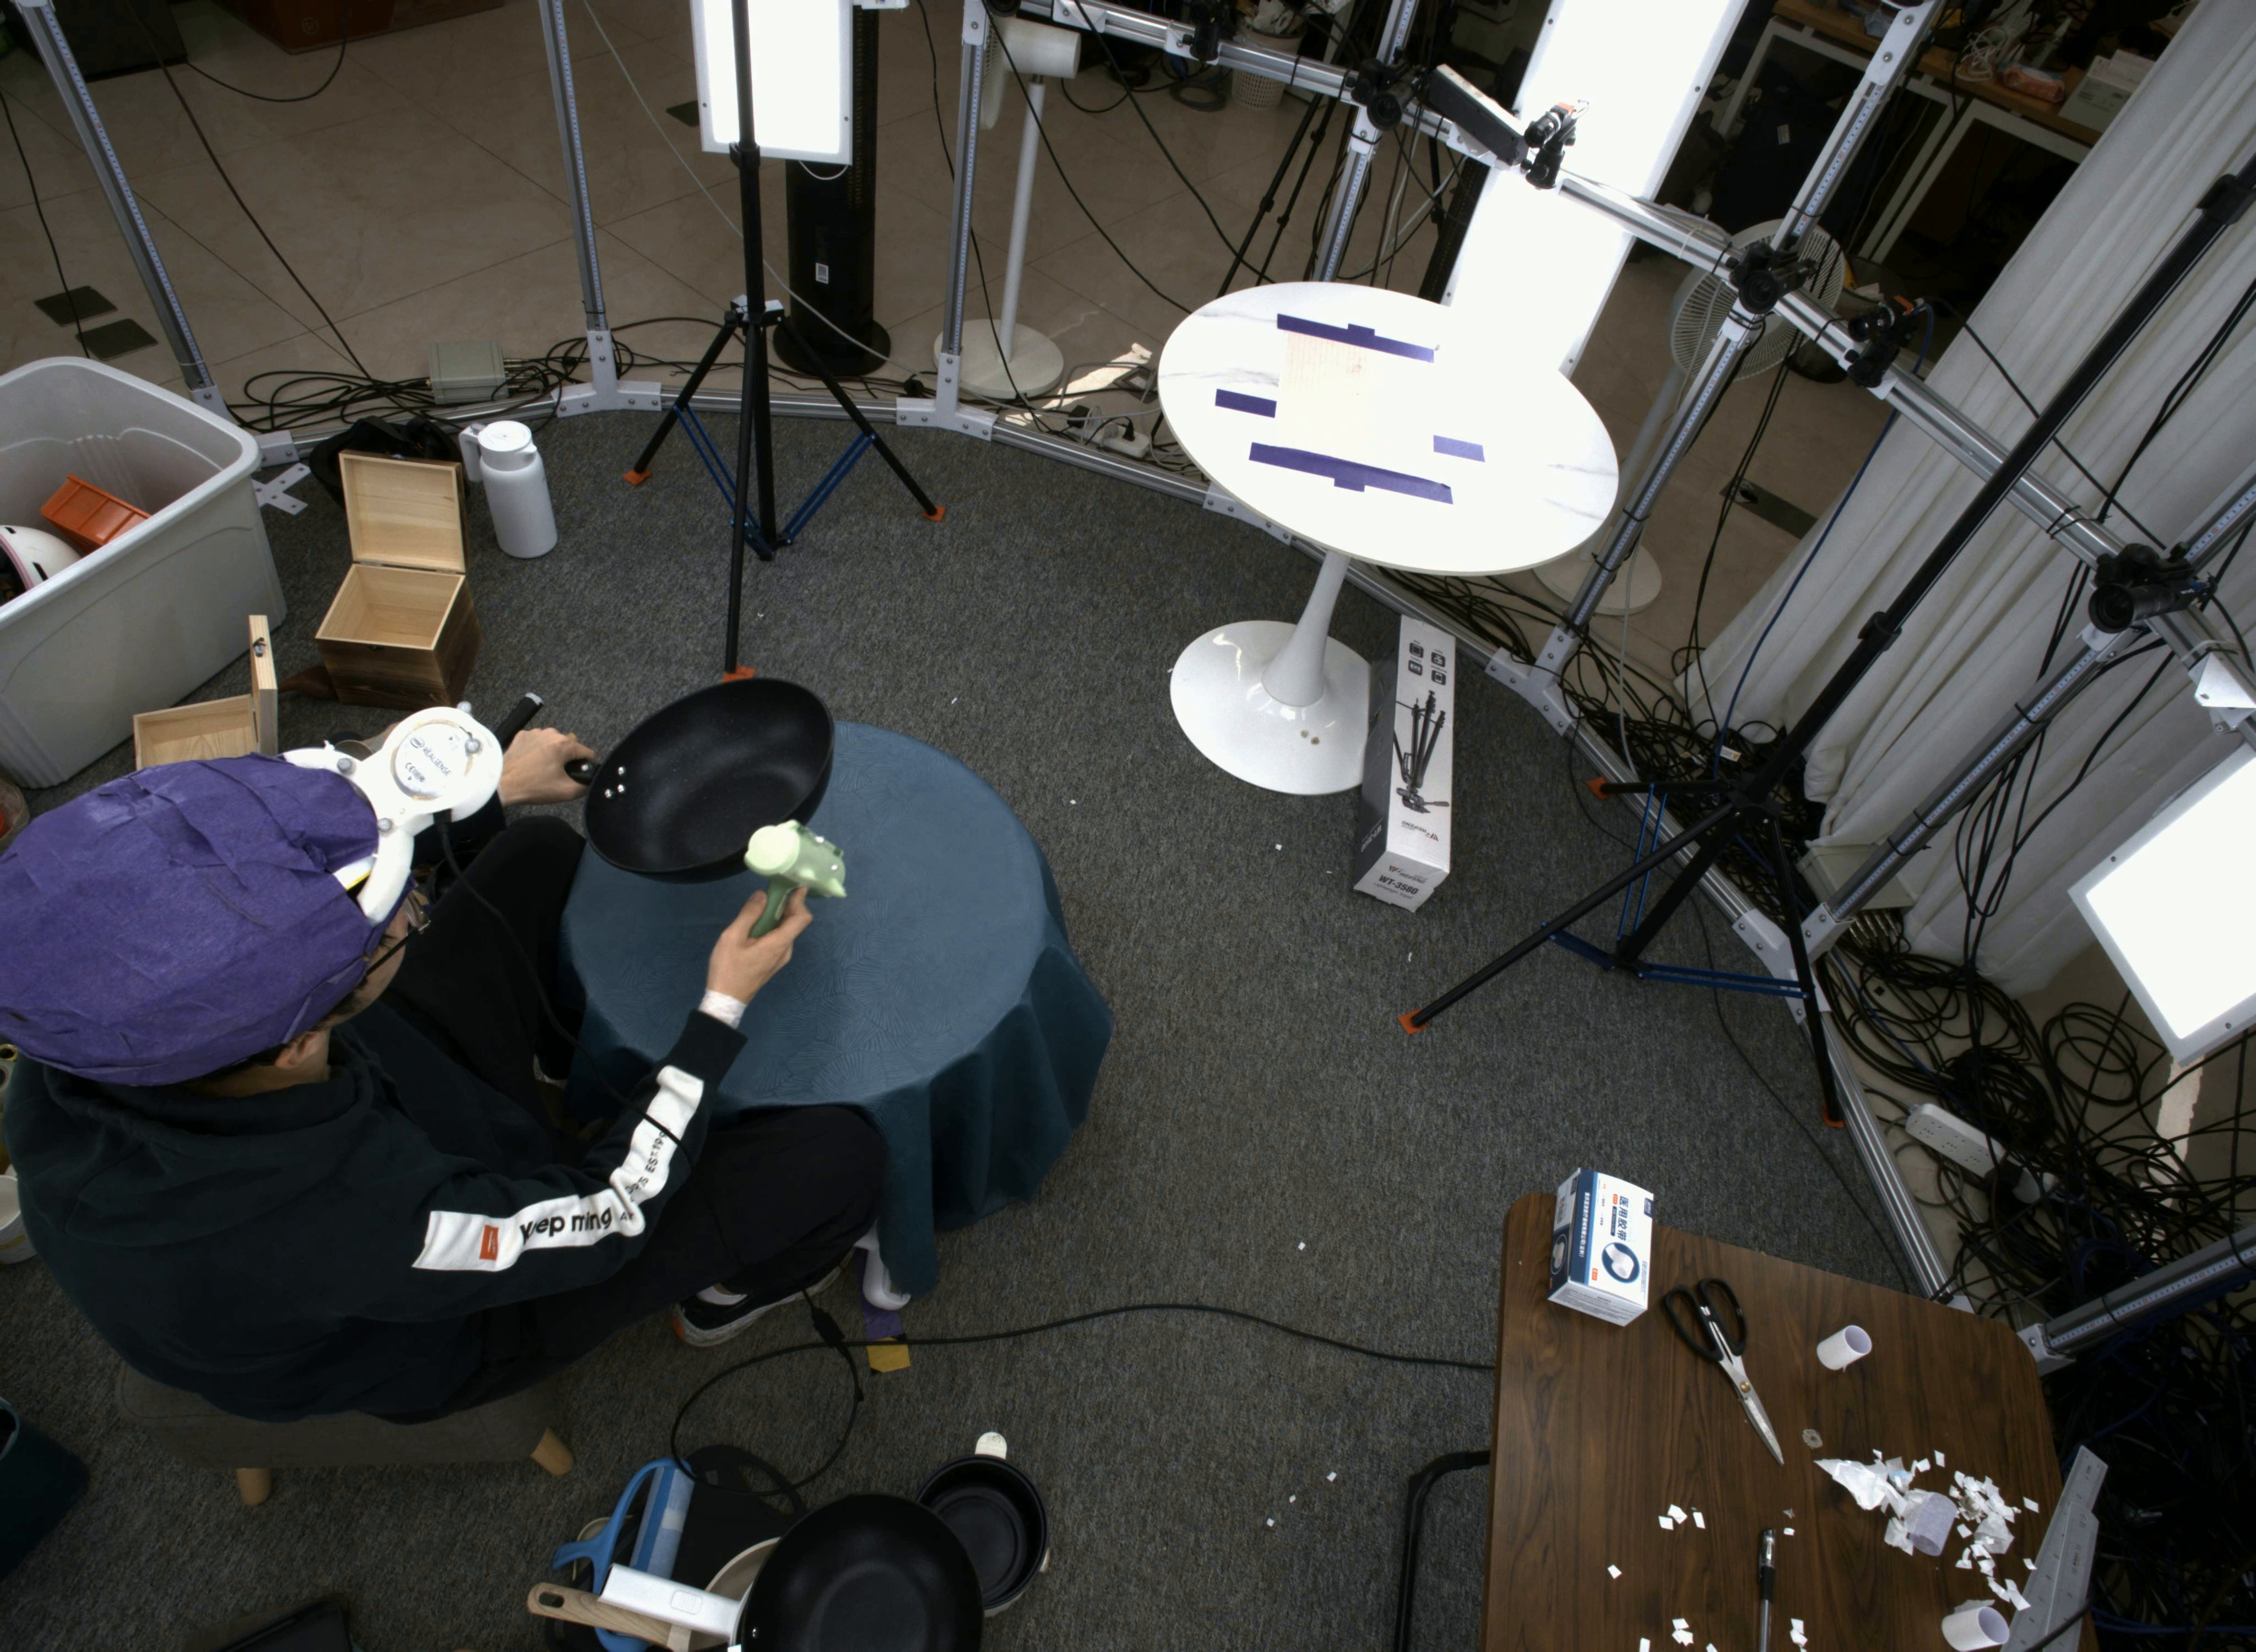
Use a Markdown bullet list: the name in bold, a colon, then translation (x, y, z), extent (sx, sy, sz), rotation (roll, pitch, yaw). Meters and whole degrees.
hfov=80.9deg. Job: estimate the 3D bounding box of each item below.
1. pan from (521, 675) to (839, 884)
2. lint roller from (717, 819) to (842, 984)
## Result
- **pan**: translation (-0.549, -0.050, 1.518), extent (0.465, 0.116, 0.306), rotation (1, 49, 15)
- **lint roller**: translation (-0.384, 0.095, 1.427), extent (0.081, 0.201, 0.184), rotation (20, 80, 7)
